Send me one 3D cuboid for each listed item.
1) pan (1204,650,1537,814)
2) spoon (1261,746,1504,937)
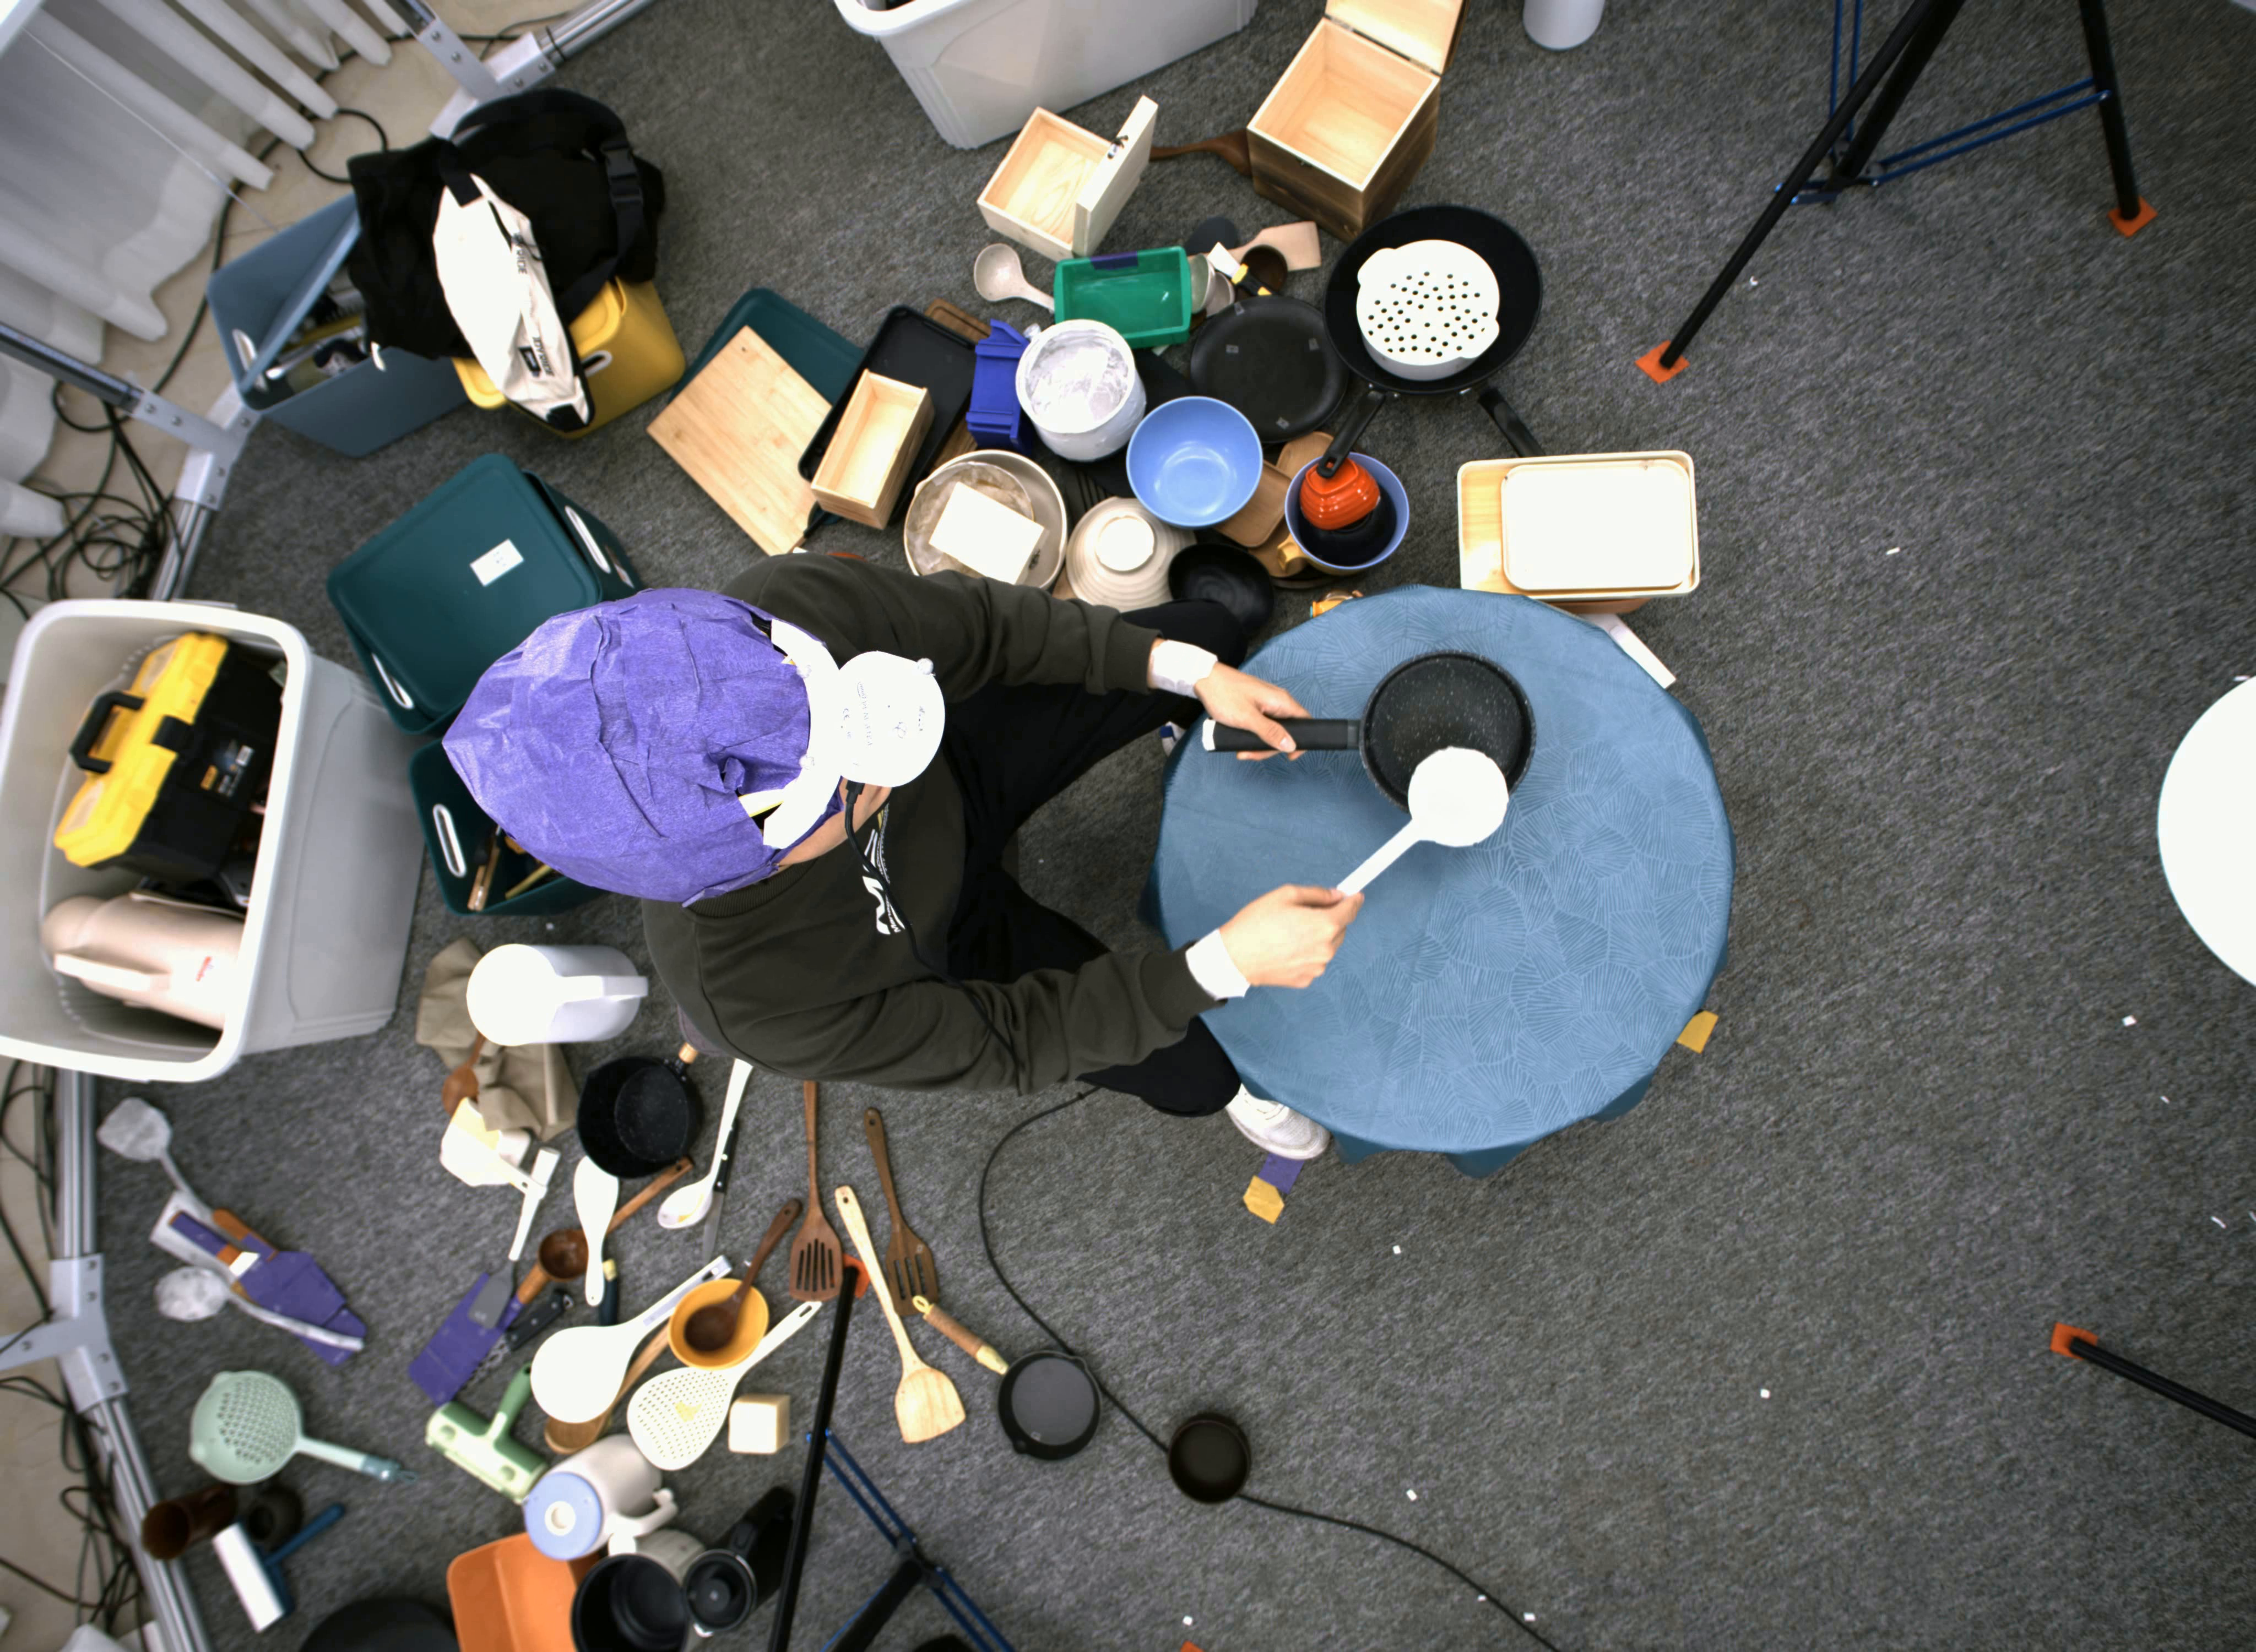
[{"bbox_3d":[0.243,-0.098,1.397,0.330,0.085,0.173,4,99,11],"label":"pan"},{"bbox_3d":[0.234,0.015,1.289,0.274,0.060,0.100,-33,84,-20],"label":"spoon"}]
